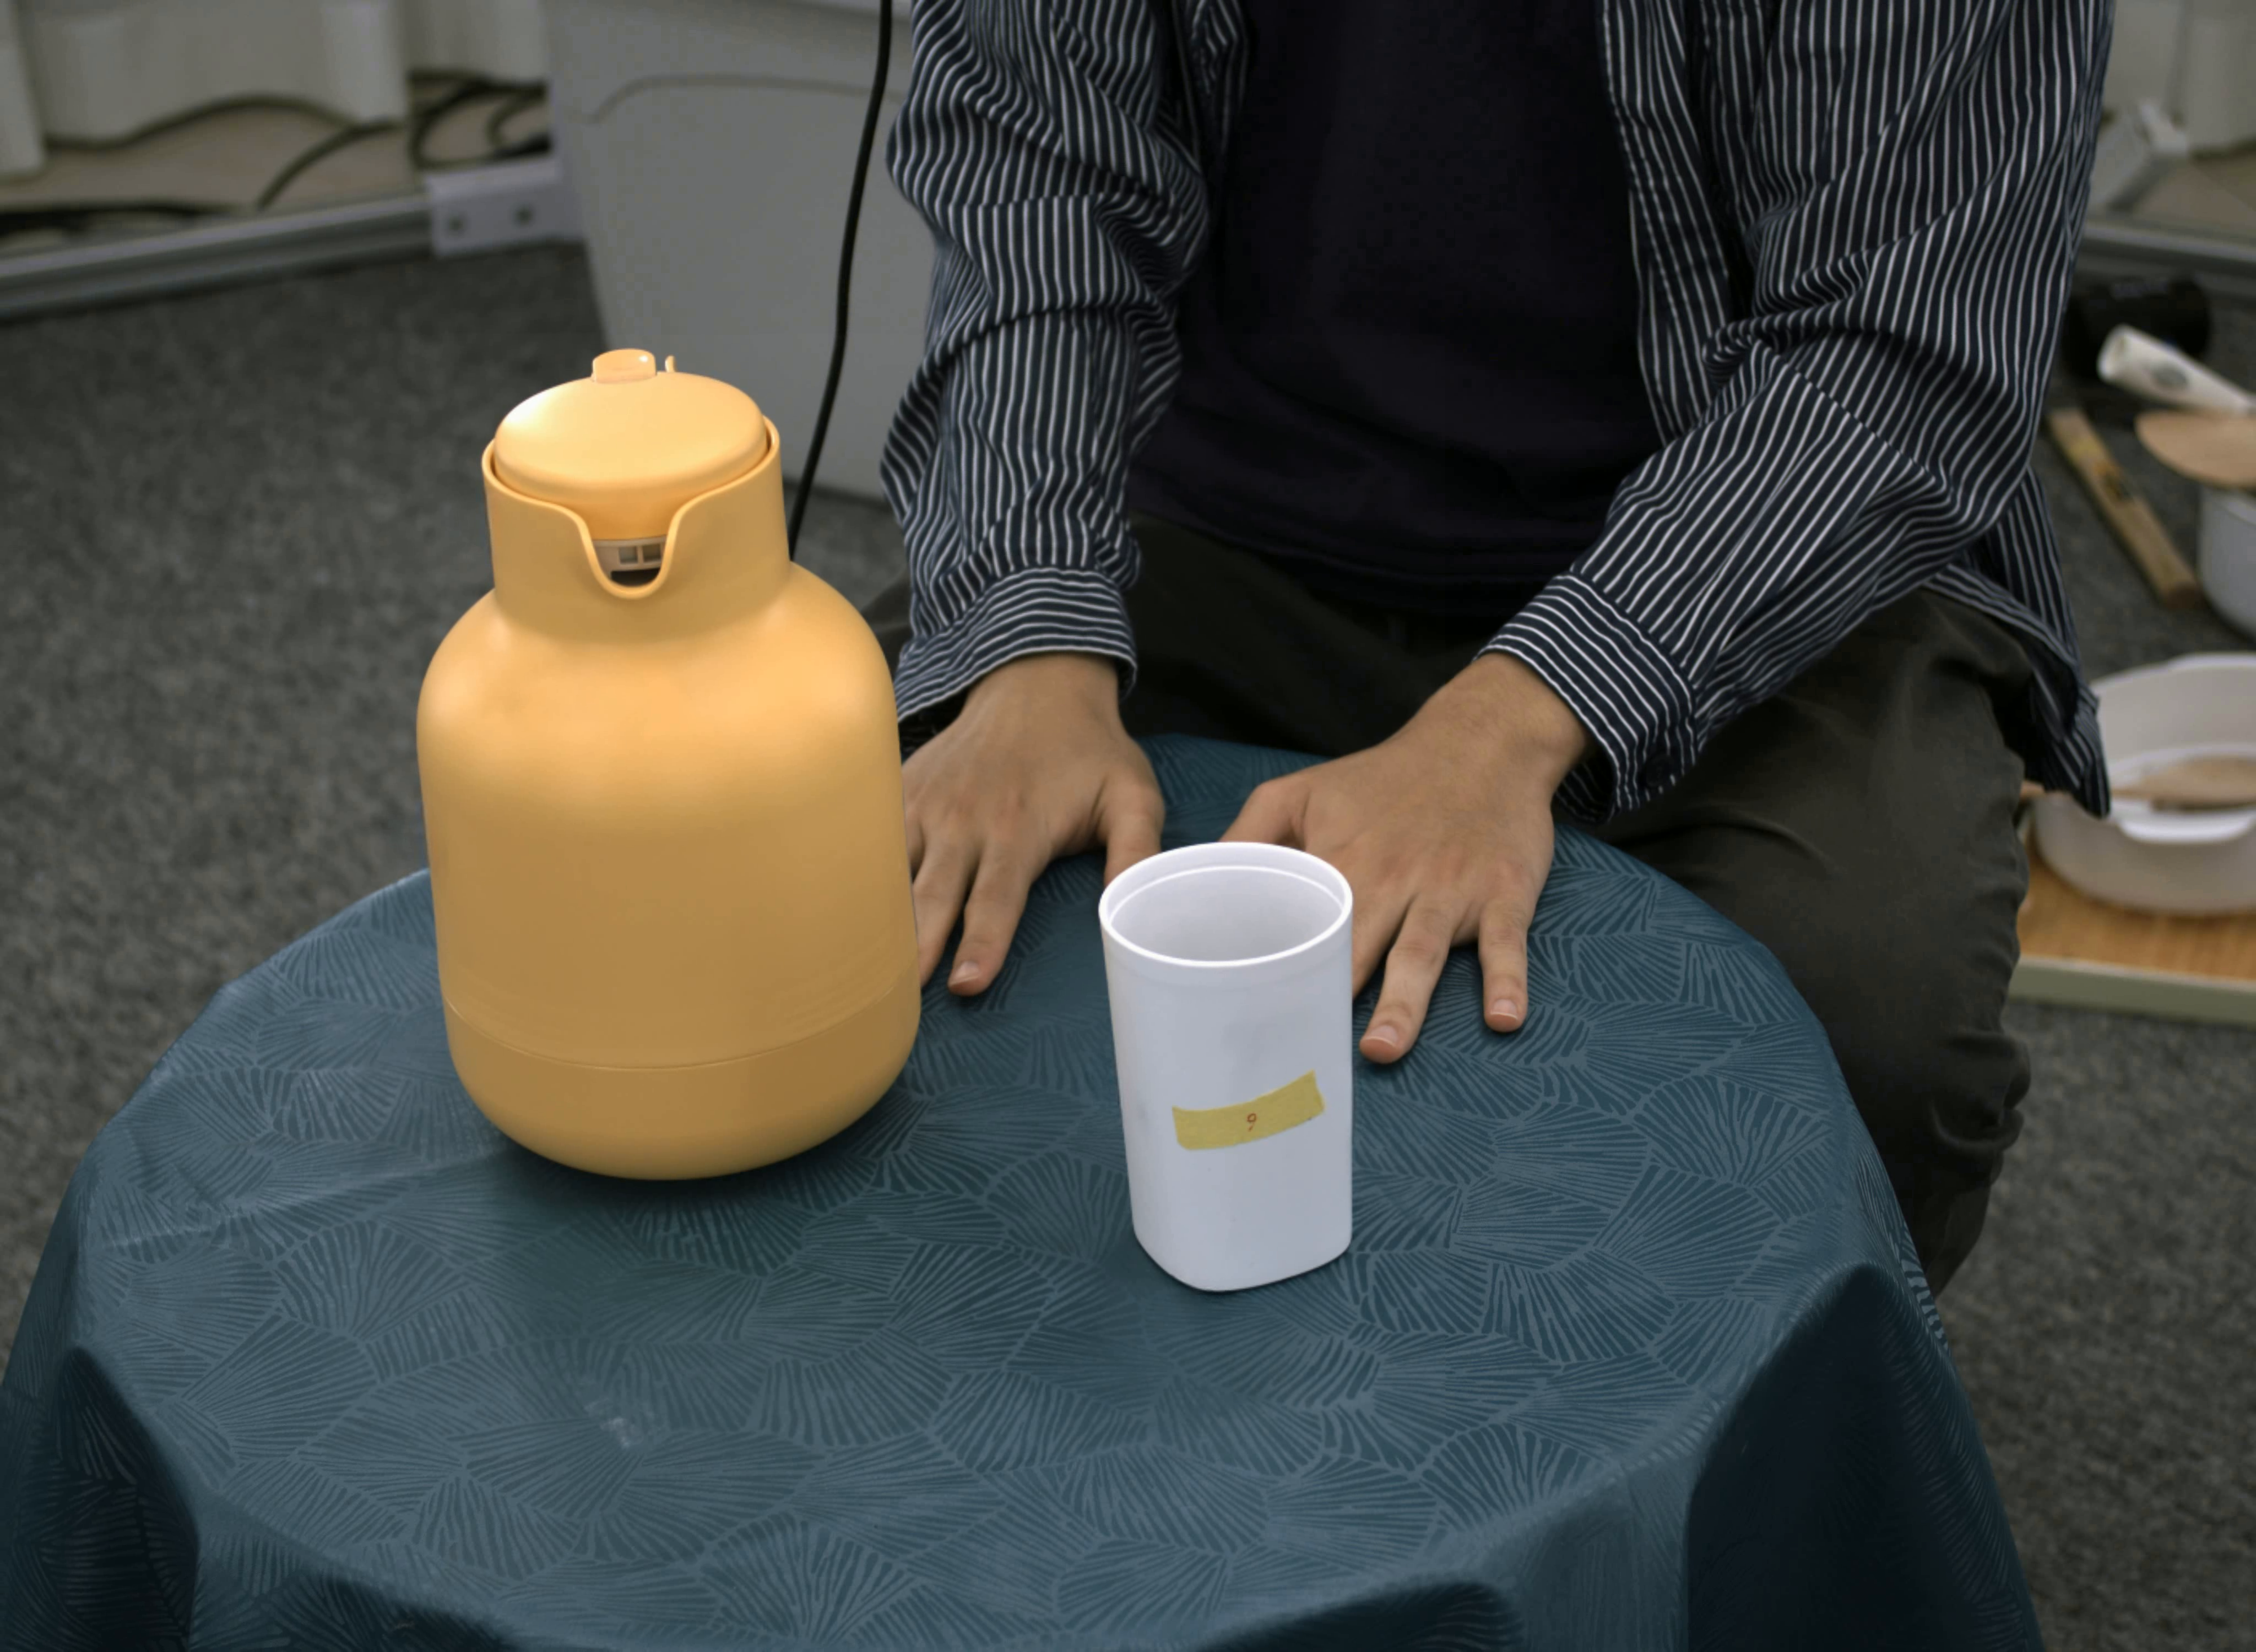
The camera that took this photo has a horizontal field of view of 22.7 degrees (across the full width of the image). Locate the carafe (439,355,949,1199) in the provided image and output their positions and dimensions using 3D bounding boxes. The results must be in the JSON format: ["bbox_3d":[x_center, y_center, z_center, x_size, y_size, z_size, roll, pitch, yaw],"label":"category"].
[{"bbox_3d":[-0.147,-0.026,1.878,0.163,0.258,0.205,-4,26,-5],"label":"carafe"}]

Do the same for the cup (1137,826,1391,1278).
[{"bbox_3d":[0.047,0.074,1.804,0.081,0.124,0.083,-3,26,2],"label":"cup"}]
